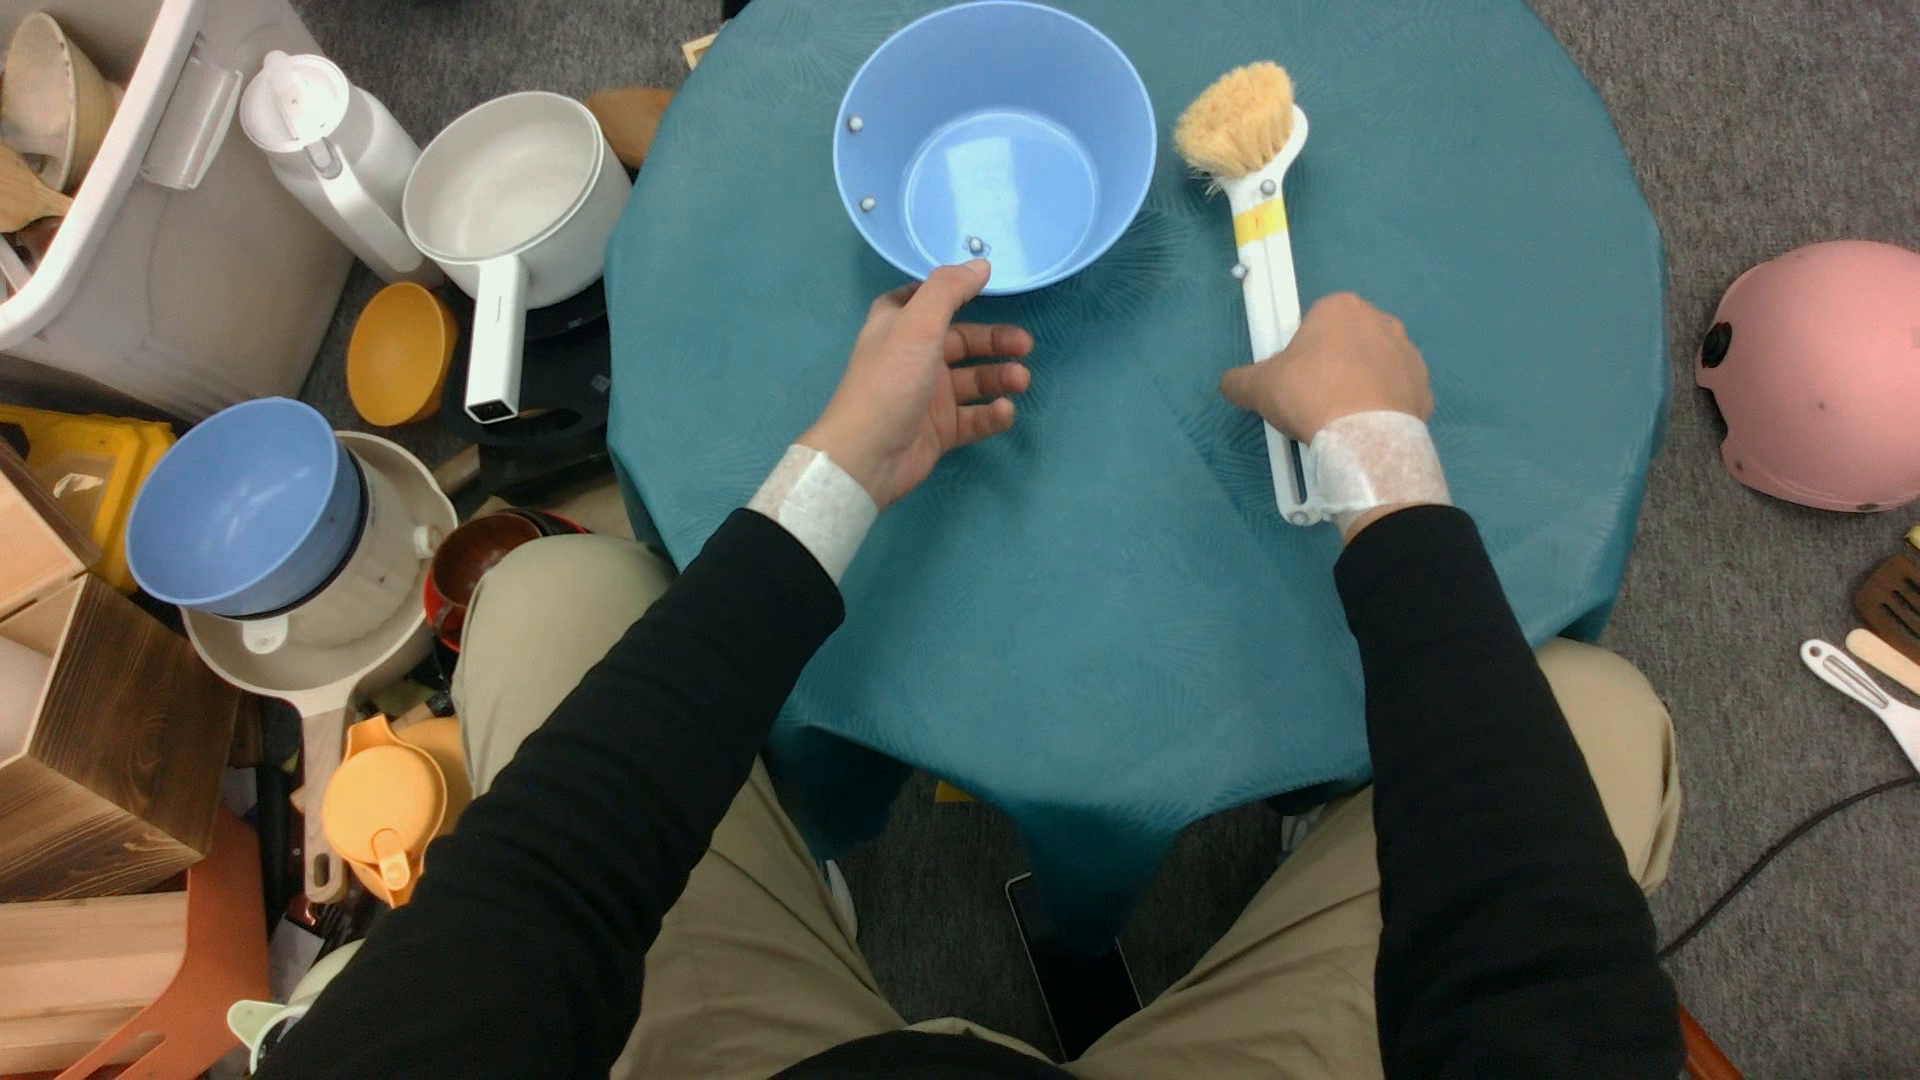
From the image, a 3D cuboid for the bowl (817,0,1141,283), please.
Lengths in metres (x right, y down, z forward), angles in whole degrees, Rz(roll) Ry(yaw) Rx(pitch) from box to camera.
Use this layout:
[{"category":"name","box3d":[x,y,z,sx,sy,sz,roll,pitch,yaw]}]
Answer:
[{"category":"bowl","box3d":[0.012,-0.213,0.776,0.176,0.070,0.176,-1,75,4]}]

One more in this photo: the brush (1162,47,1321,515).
[{"category":"brush","box3d":[0.156,-0.145,0.744,0.068,0.056,0.267,-19,66,44]}]
